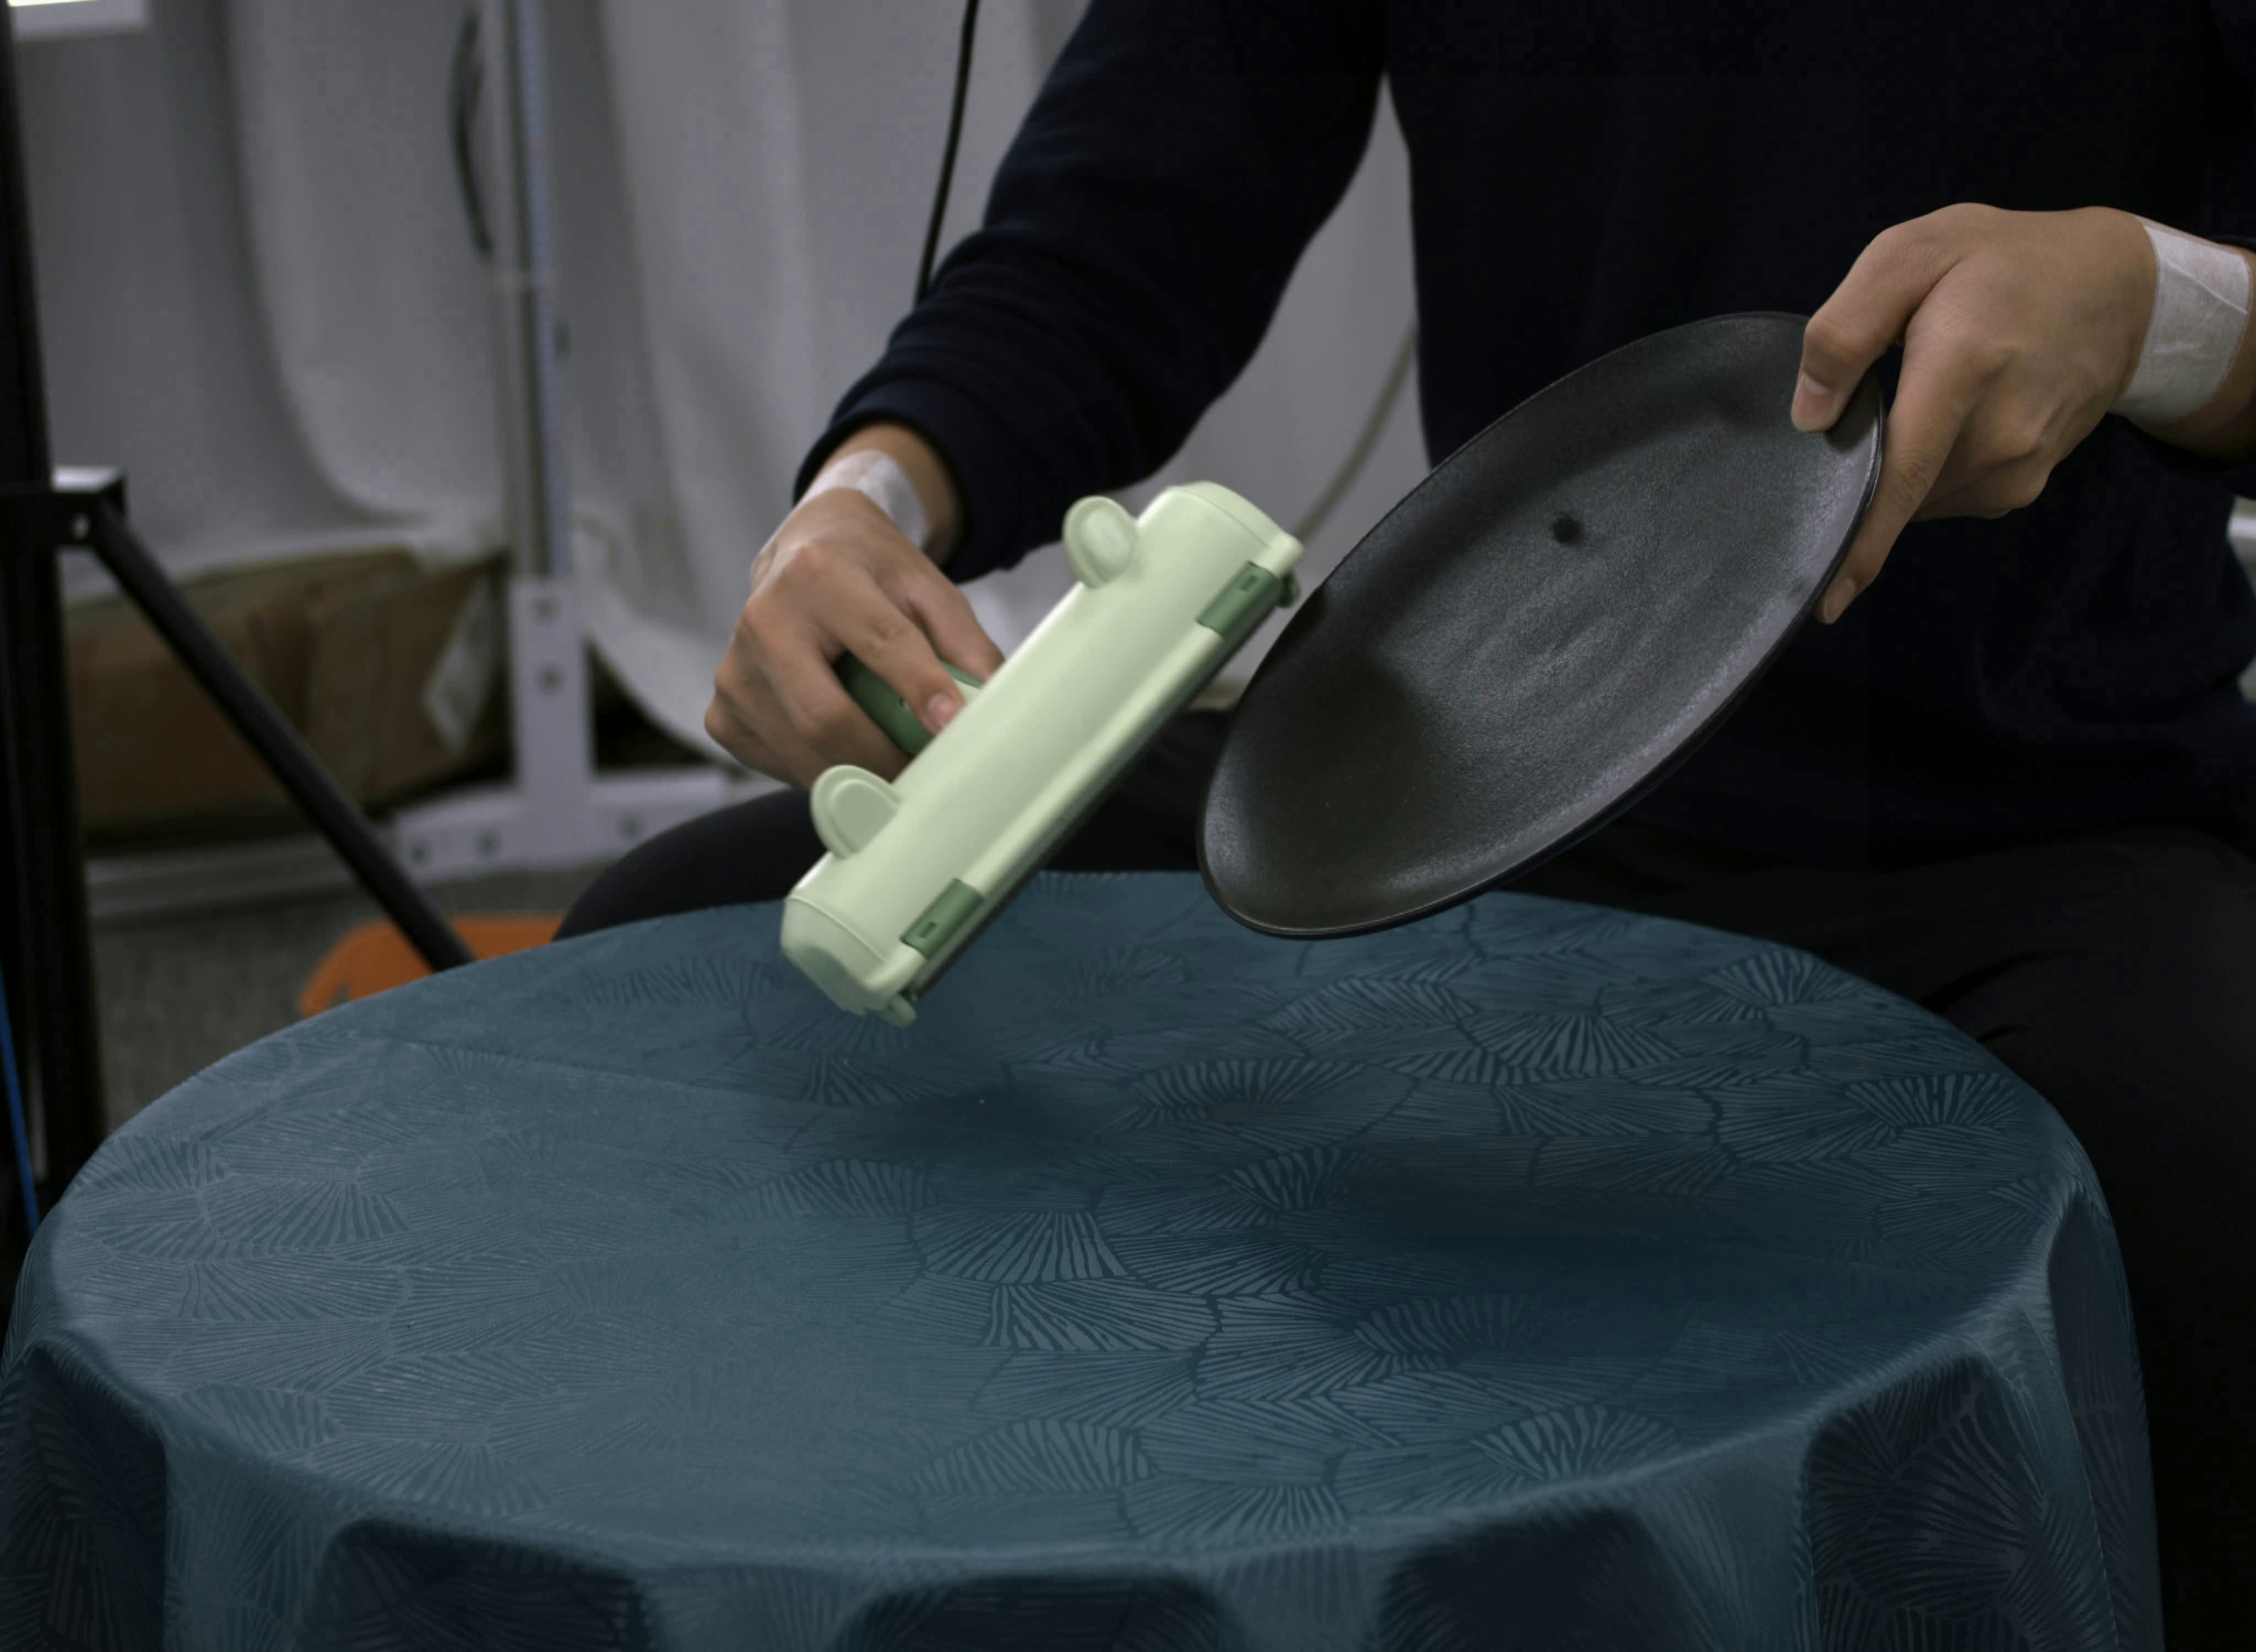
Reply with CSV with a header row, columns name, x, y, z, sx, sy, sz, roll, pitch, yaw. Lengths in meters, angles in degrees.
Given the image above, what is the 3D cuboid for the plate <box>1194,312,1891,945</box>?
name,x,y,z,sx,sy,sz,roll,pitch,yaw
plate,0.121,-0.053,1.521,0.246,0.023,0.246,-36,25,17

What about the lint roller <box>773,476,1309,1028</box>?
name,x,y,z,sx,sy,sz,roll,pitch,yaw
lint roller,-0.063,-0.046,1.661,0.197,0.080,0.187,-48,44,-16
